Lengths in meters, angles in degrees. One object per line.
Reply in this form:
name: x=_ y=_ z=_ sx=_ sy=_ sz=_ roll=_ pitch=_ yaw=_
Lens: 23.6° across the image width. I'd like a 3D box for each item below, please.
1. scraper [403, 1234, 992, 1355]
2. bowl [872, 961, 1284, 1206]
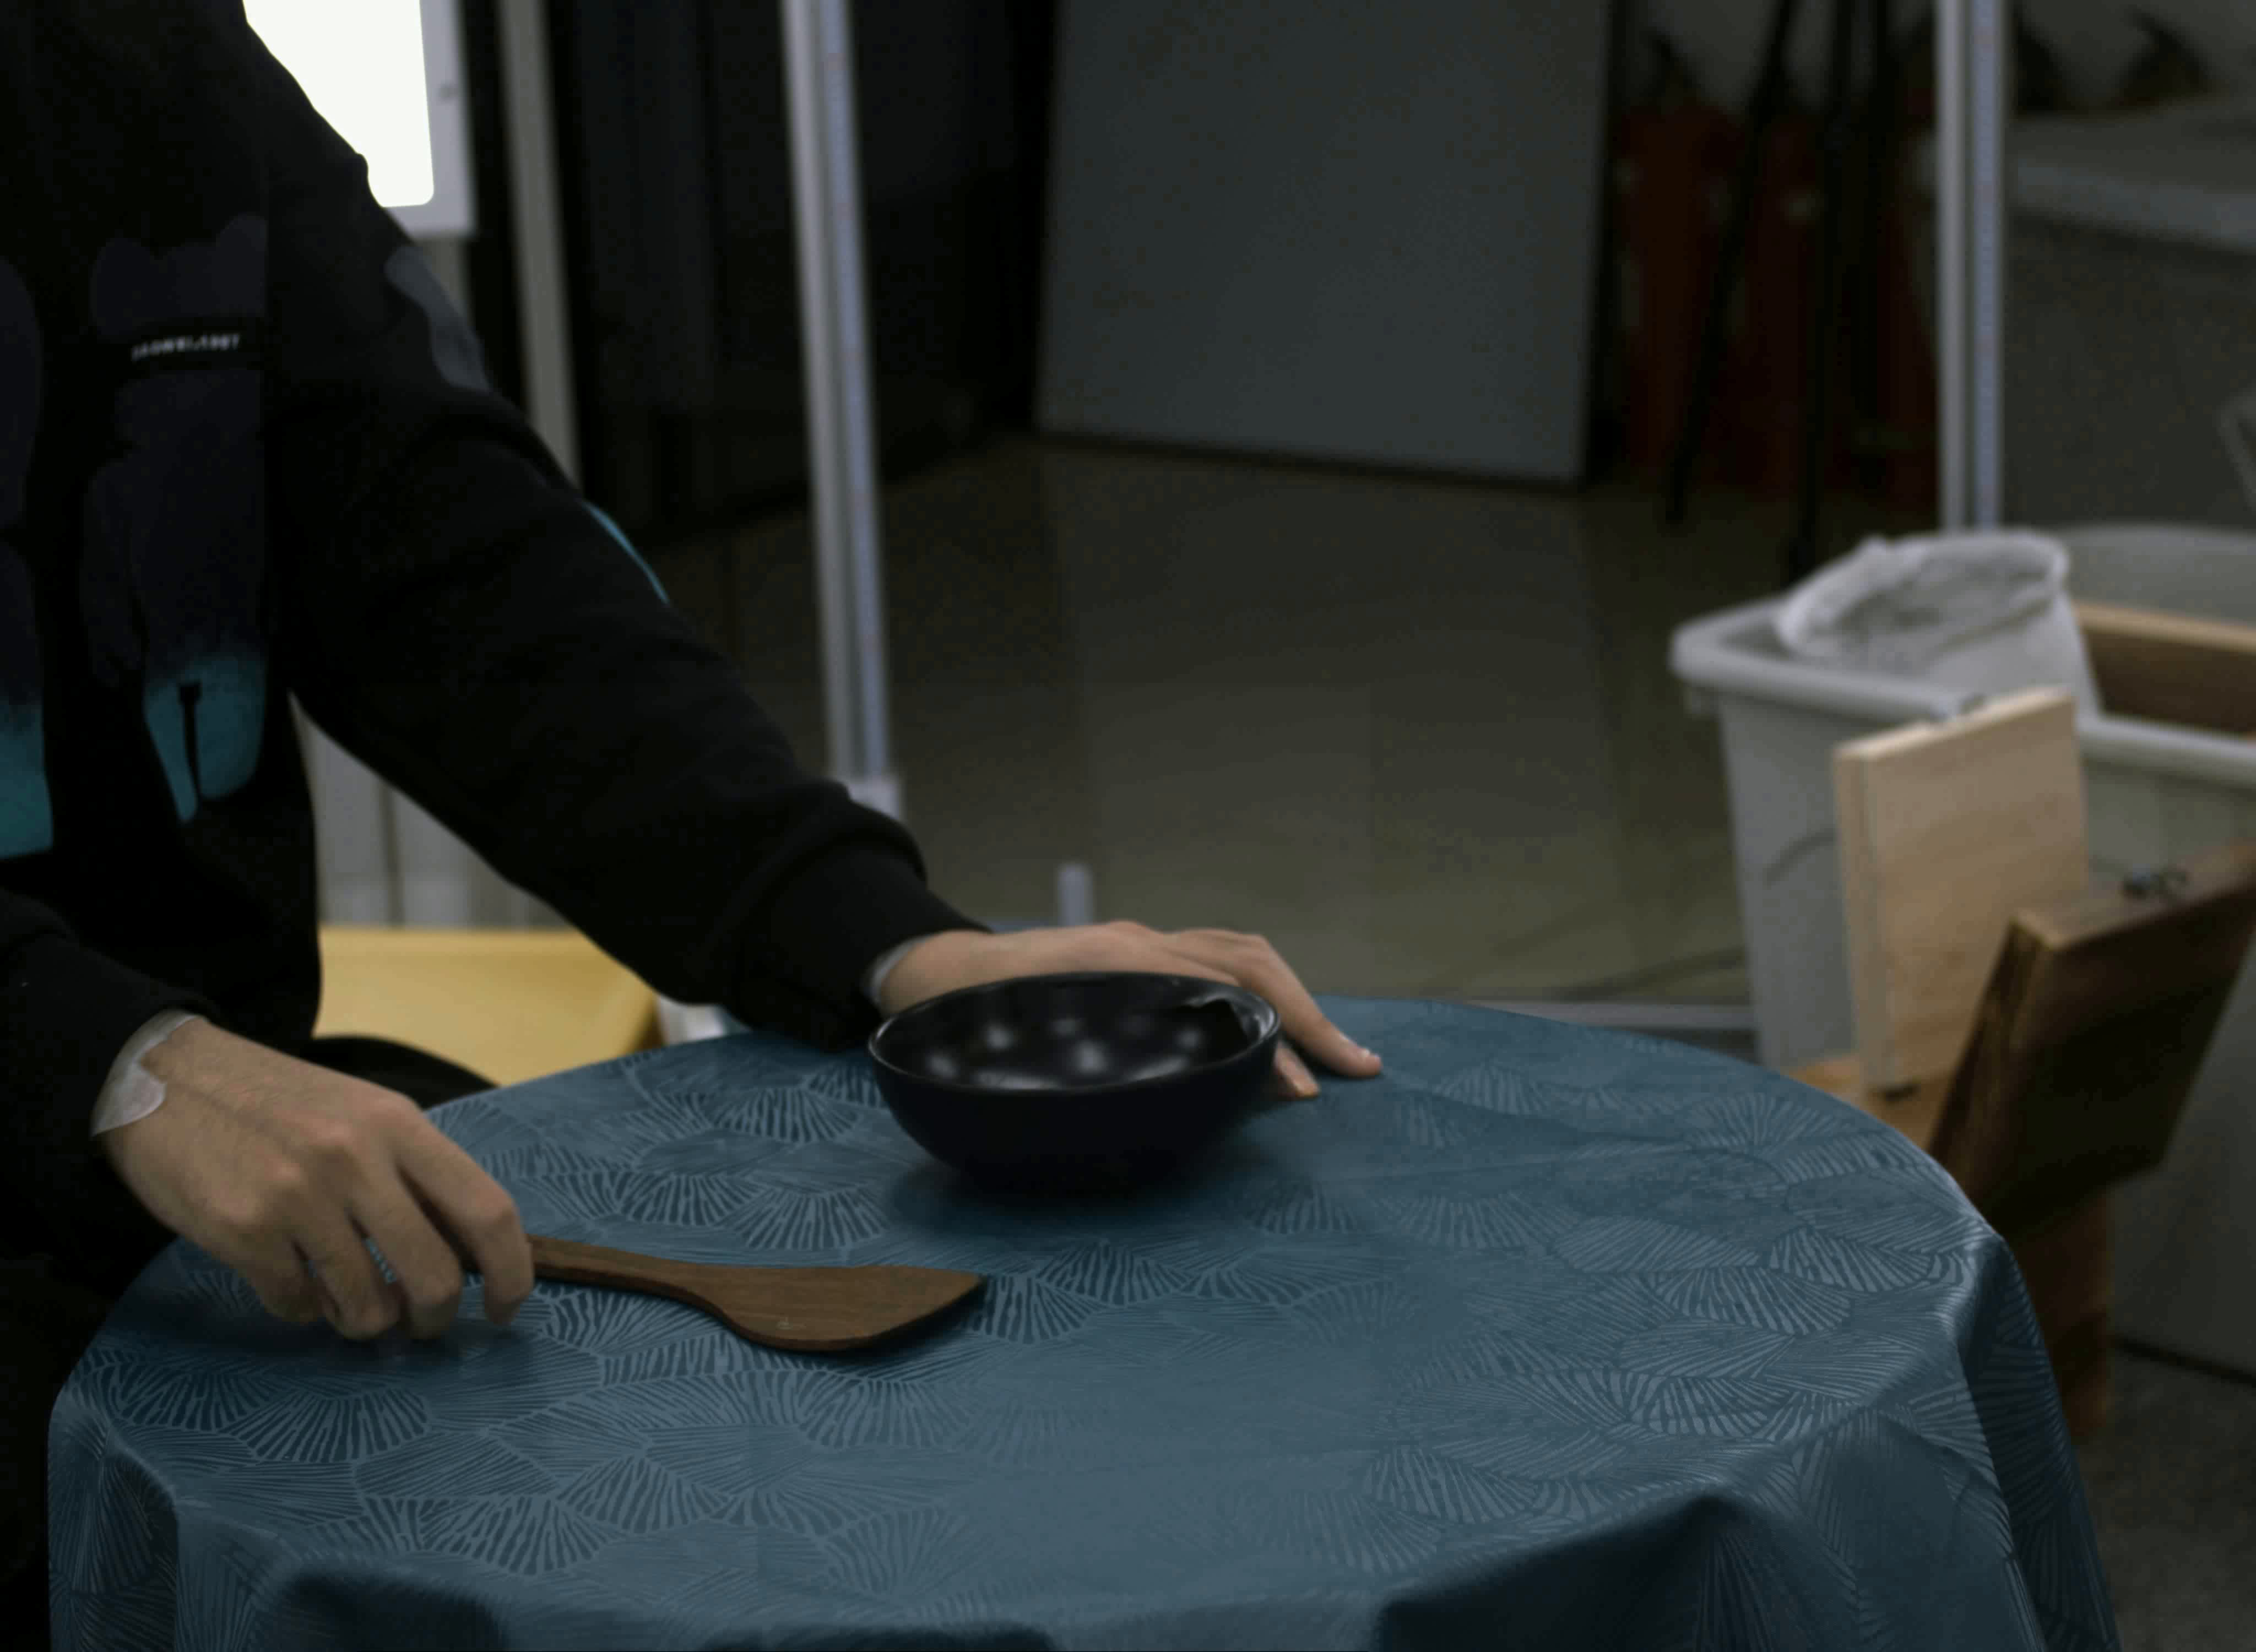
scraper: x=-0.142 y=0.145 z=1.703 sx=0.212 sy=0.011 sz=0.074 roll=4 pitch=15 yaw=34
bowl: x=-0.015 y=0.091 z=1.795 sx=0.138 sy=0.050 sz=0.140 roll=-5 pitch=17 yaw=1
